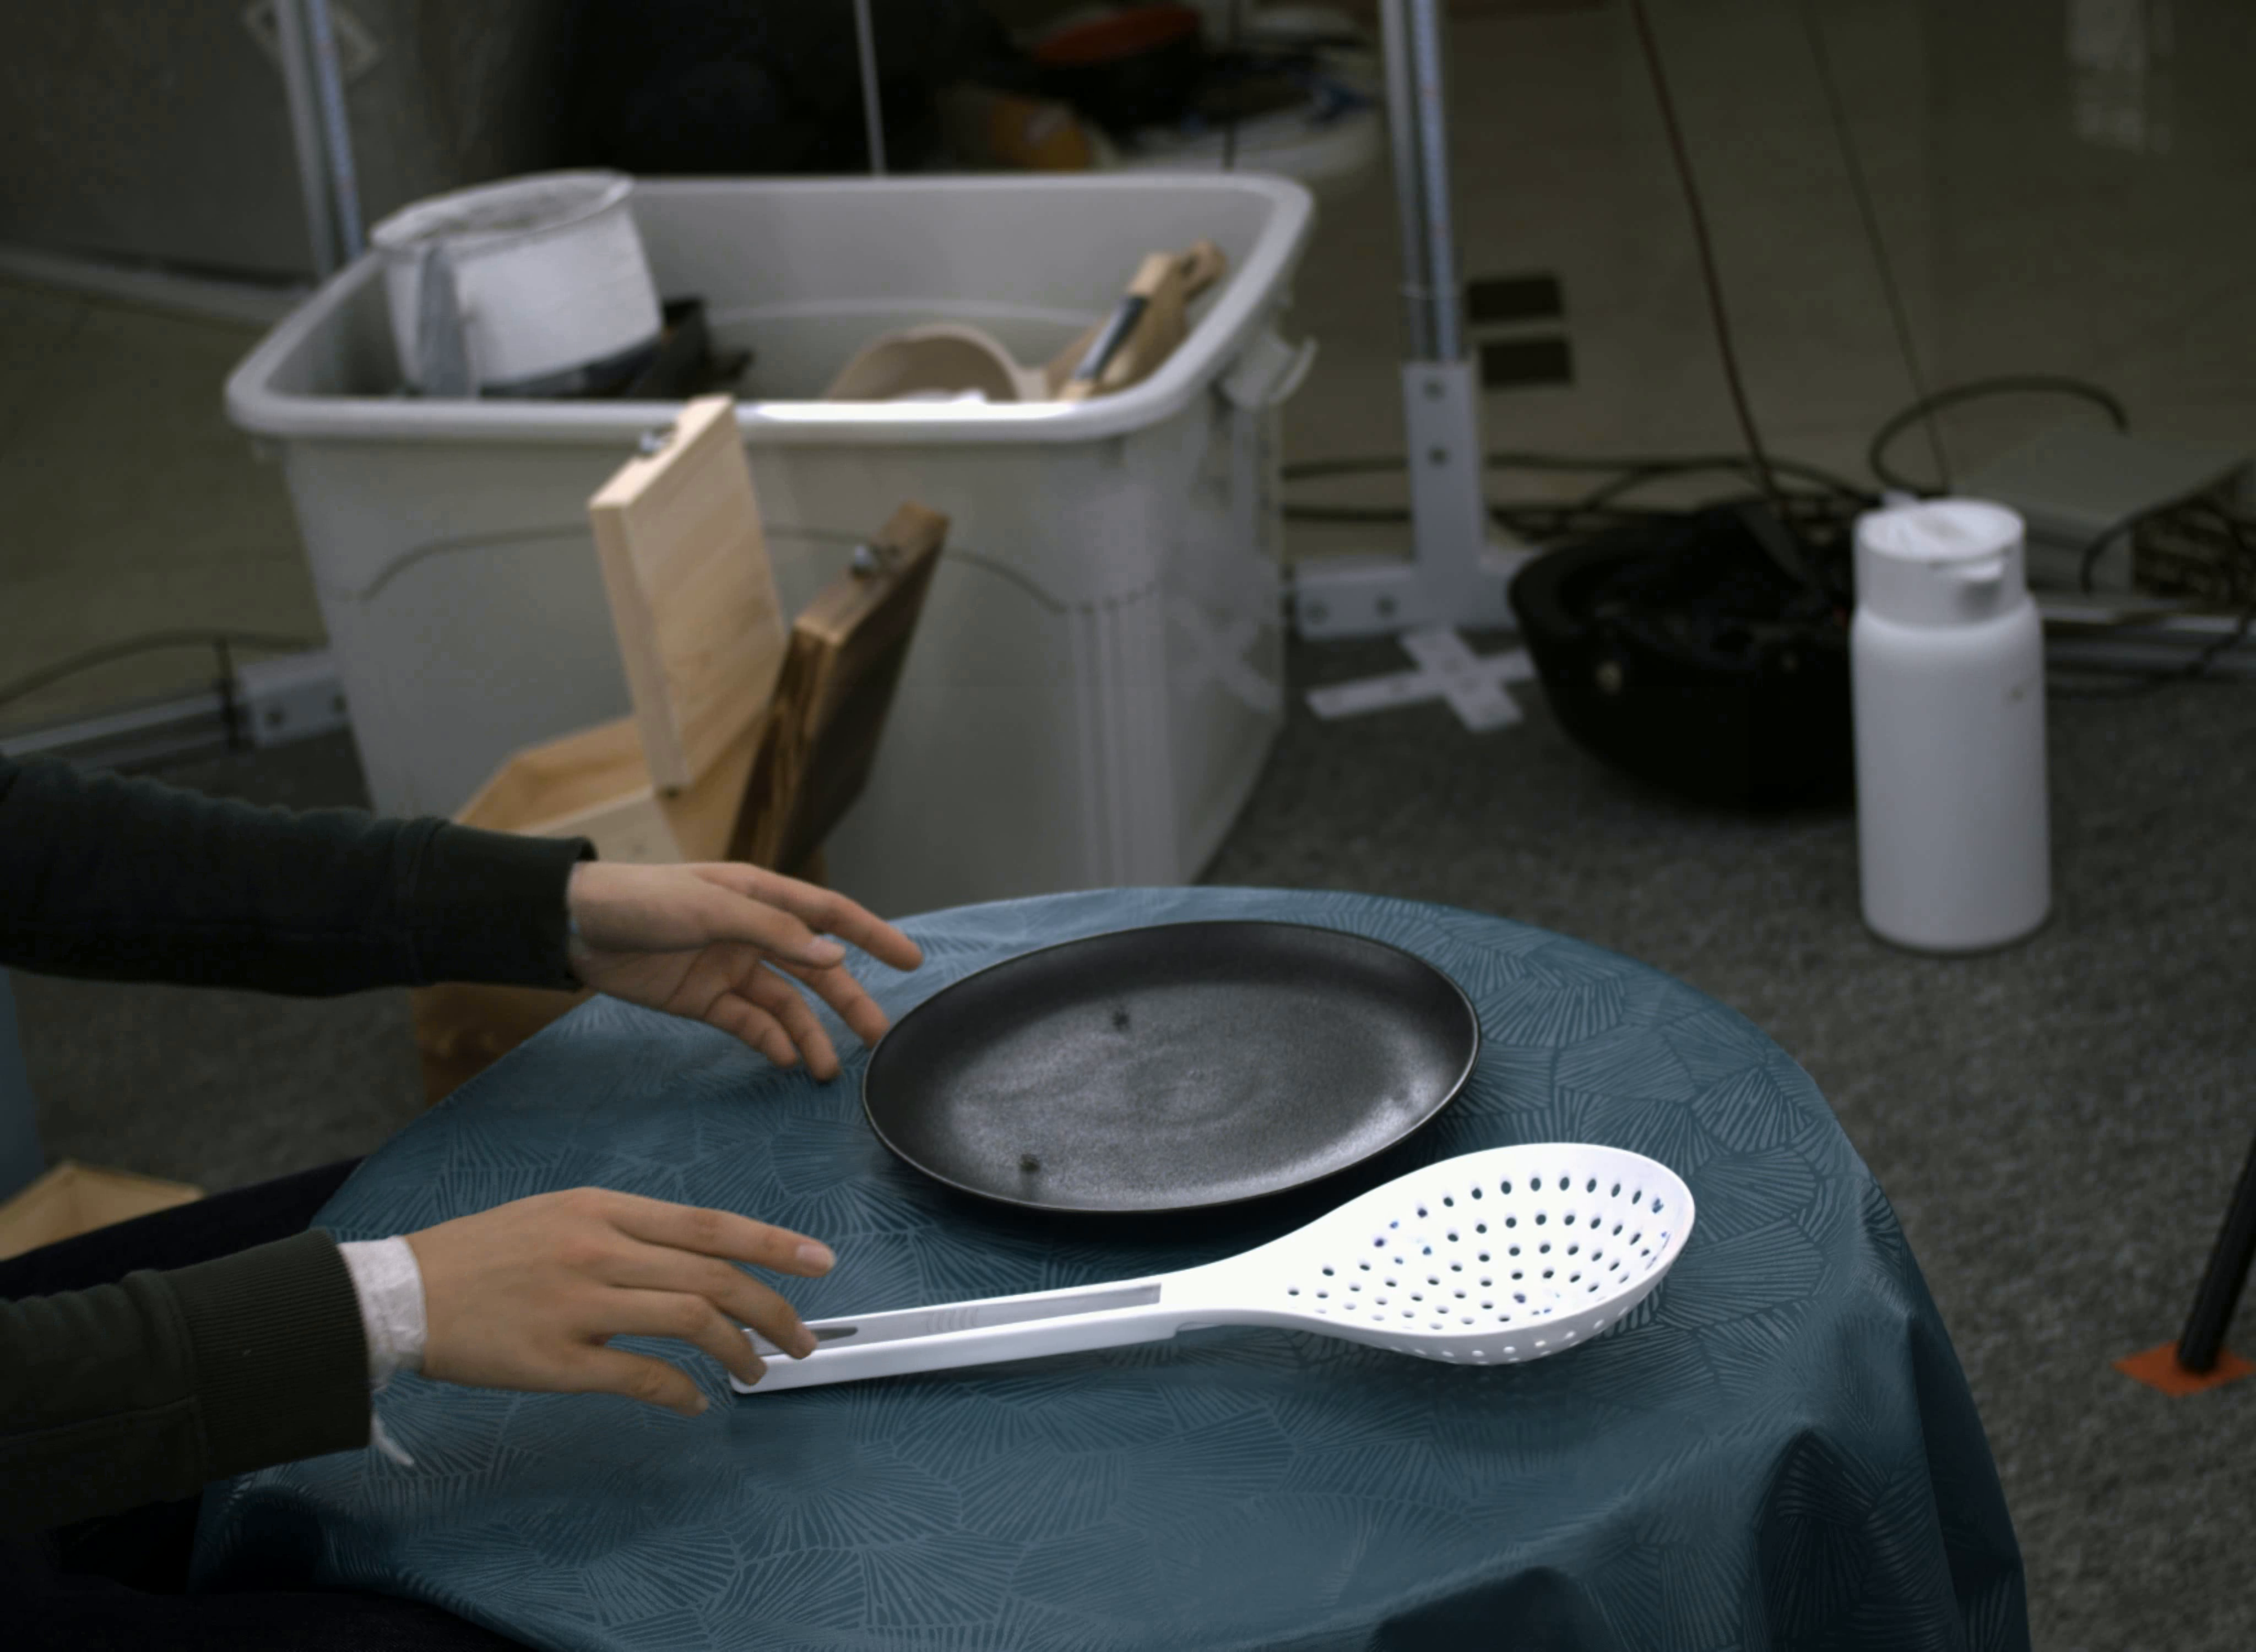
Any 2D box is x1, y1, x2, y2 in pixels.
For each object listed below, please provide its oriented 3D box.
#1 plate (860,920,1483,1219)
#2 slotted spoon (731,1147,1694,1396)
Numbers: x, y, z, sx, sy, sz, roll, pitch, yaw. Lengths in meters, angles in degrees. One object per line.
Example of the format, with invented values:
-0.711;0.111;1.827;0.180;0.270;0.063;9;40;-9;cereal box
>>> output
0.017;0.100;2.206;0.244;0.024;0.241;-5;25;3;plate
0.028;0.169;2.027;0.349;0.046;0.134;-5;23;6;slotted spoon
